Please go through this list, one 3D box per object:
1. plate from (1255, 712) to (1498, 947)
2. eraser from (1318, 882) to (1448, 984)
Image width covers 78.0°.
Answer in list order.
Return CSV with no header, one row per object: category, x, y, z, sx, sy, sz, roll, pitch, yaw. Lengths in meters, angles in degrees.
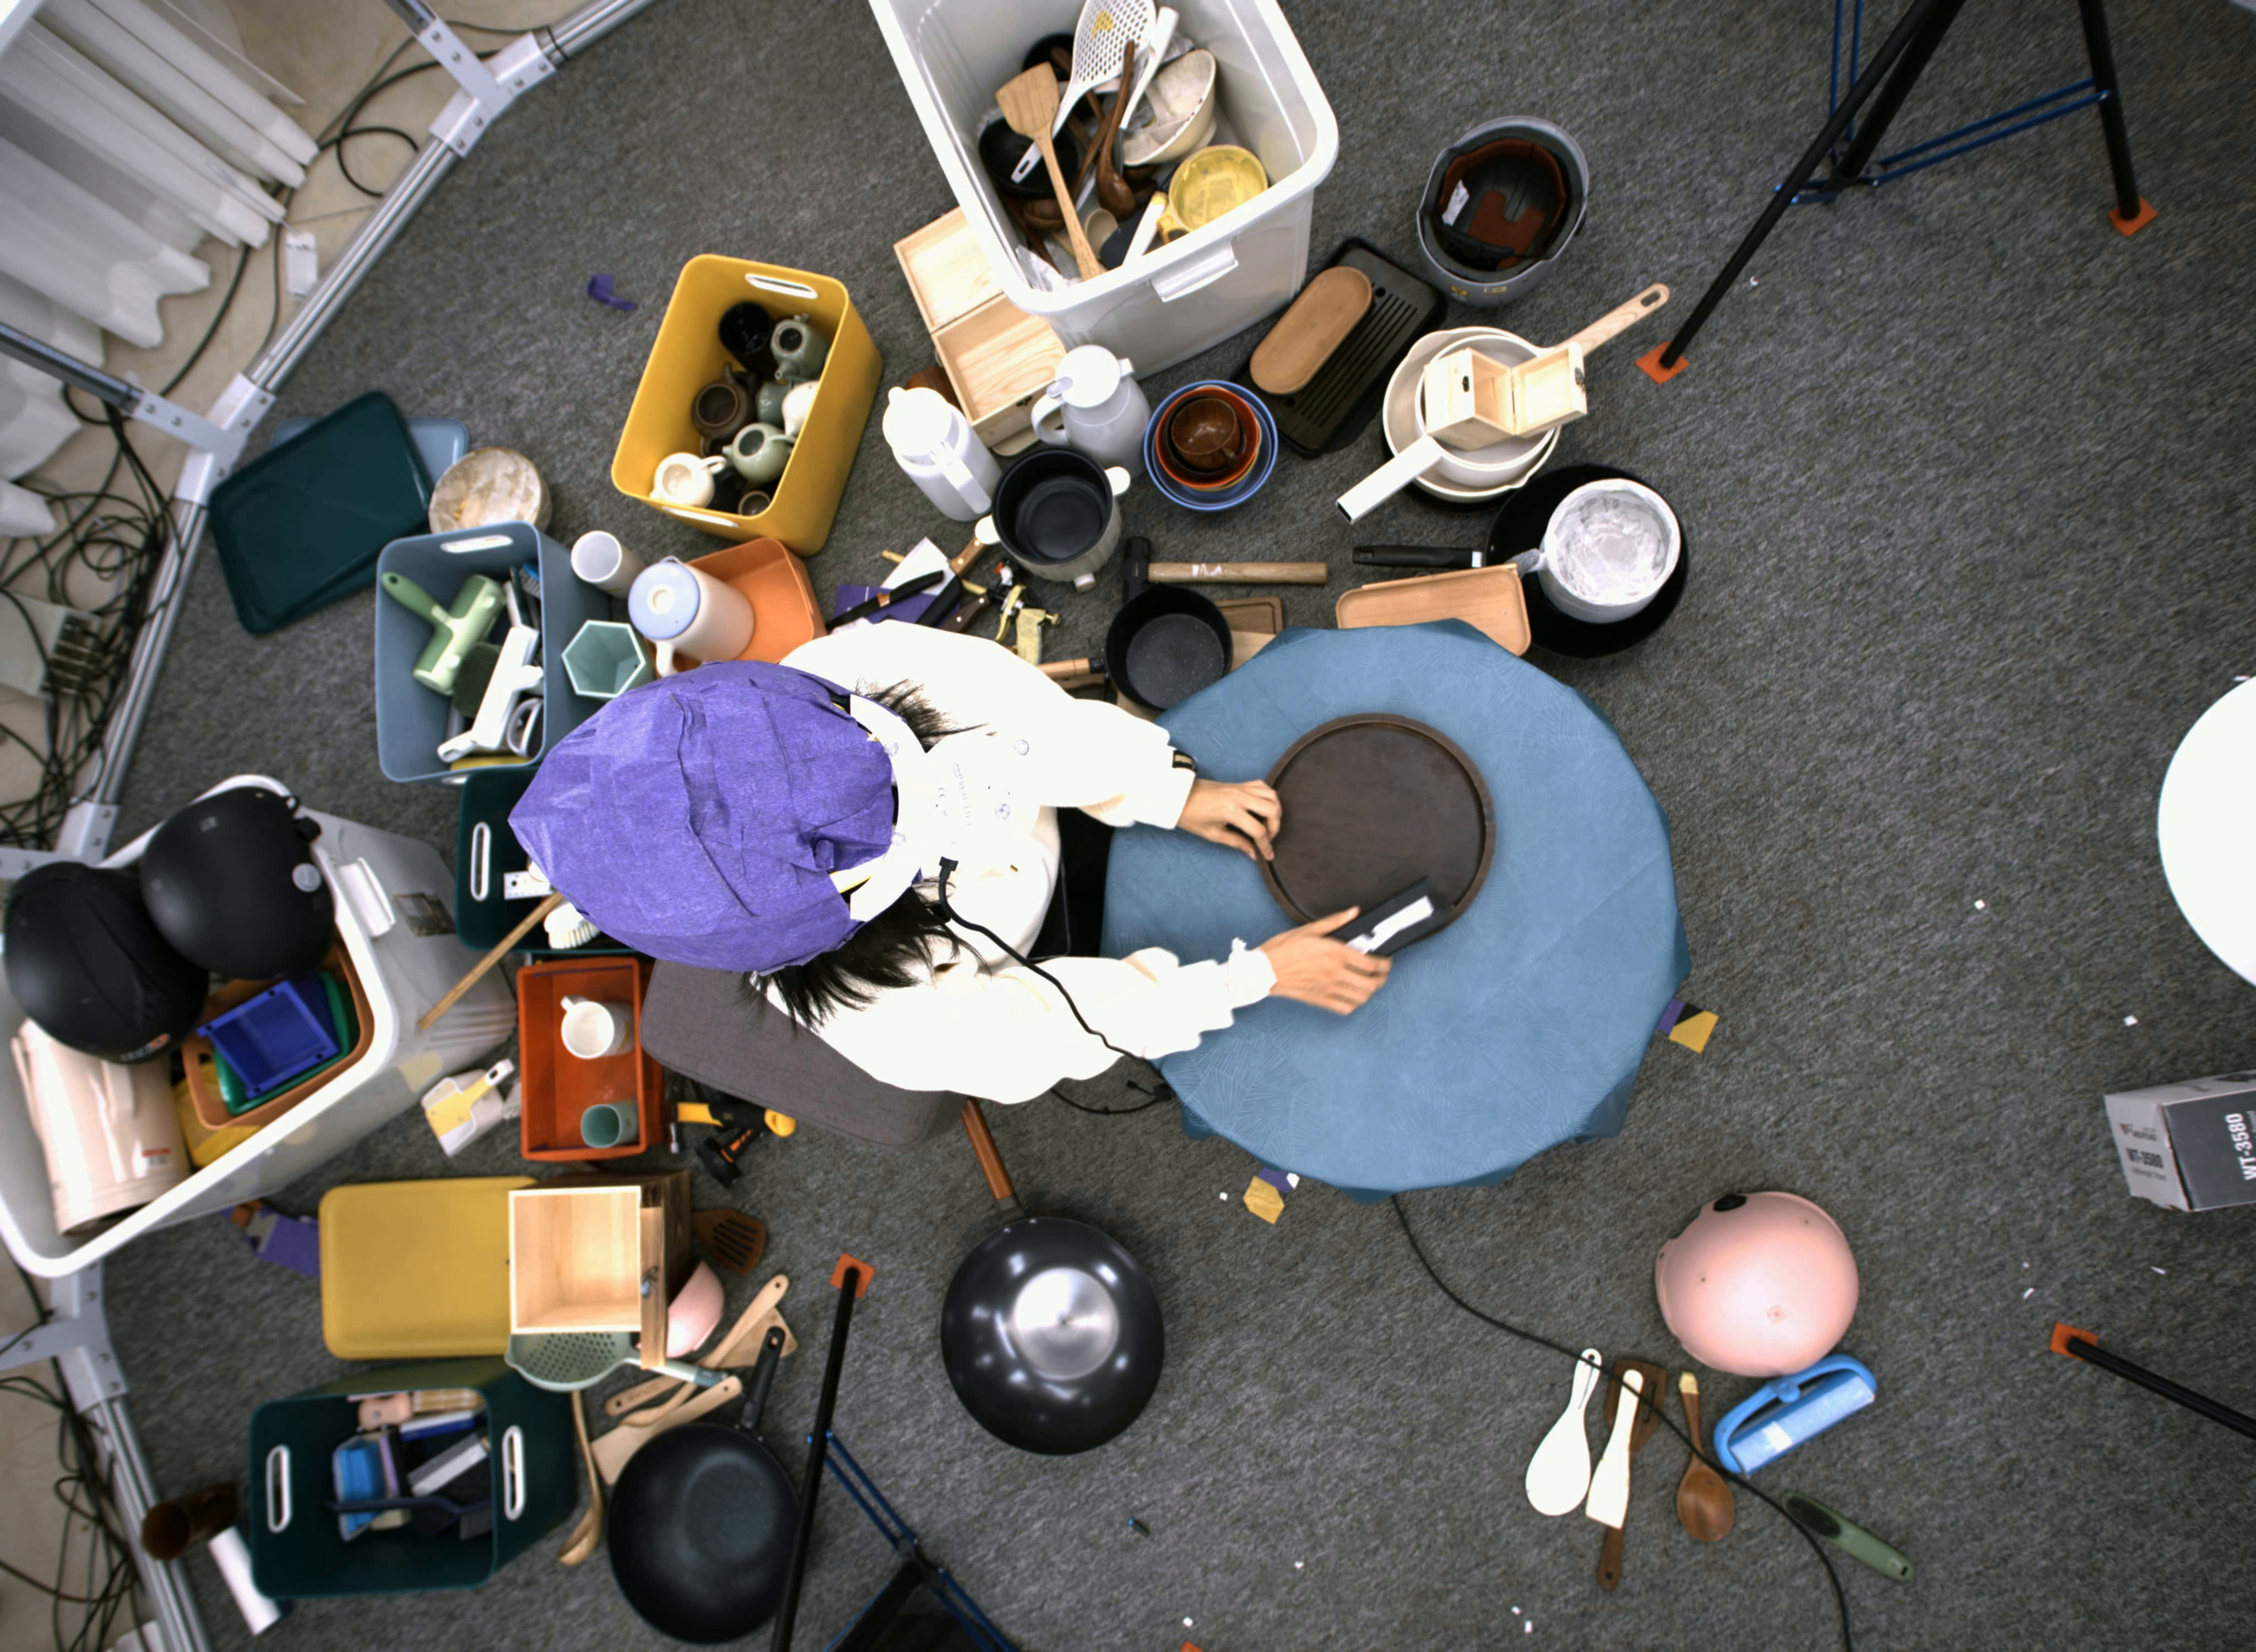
plate,0.260,0.004,1.454,0.256,0.029,0.254,-1,87,9
eraser,0.260,0.107,1.409,0.127,0.030,0.053,-31,84,15
